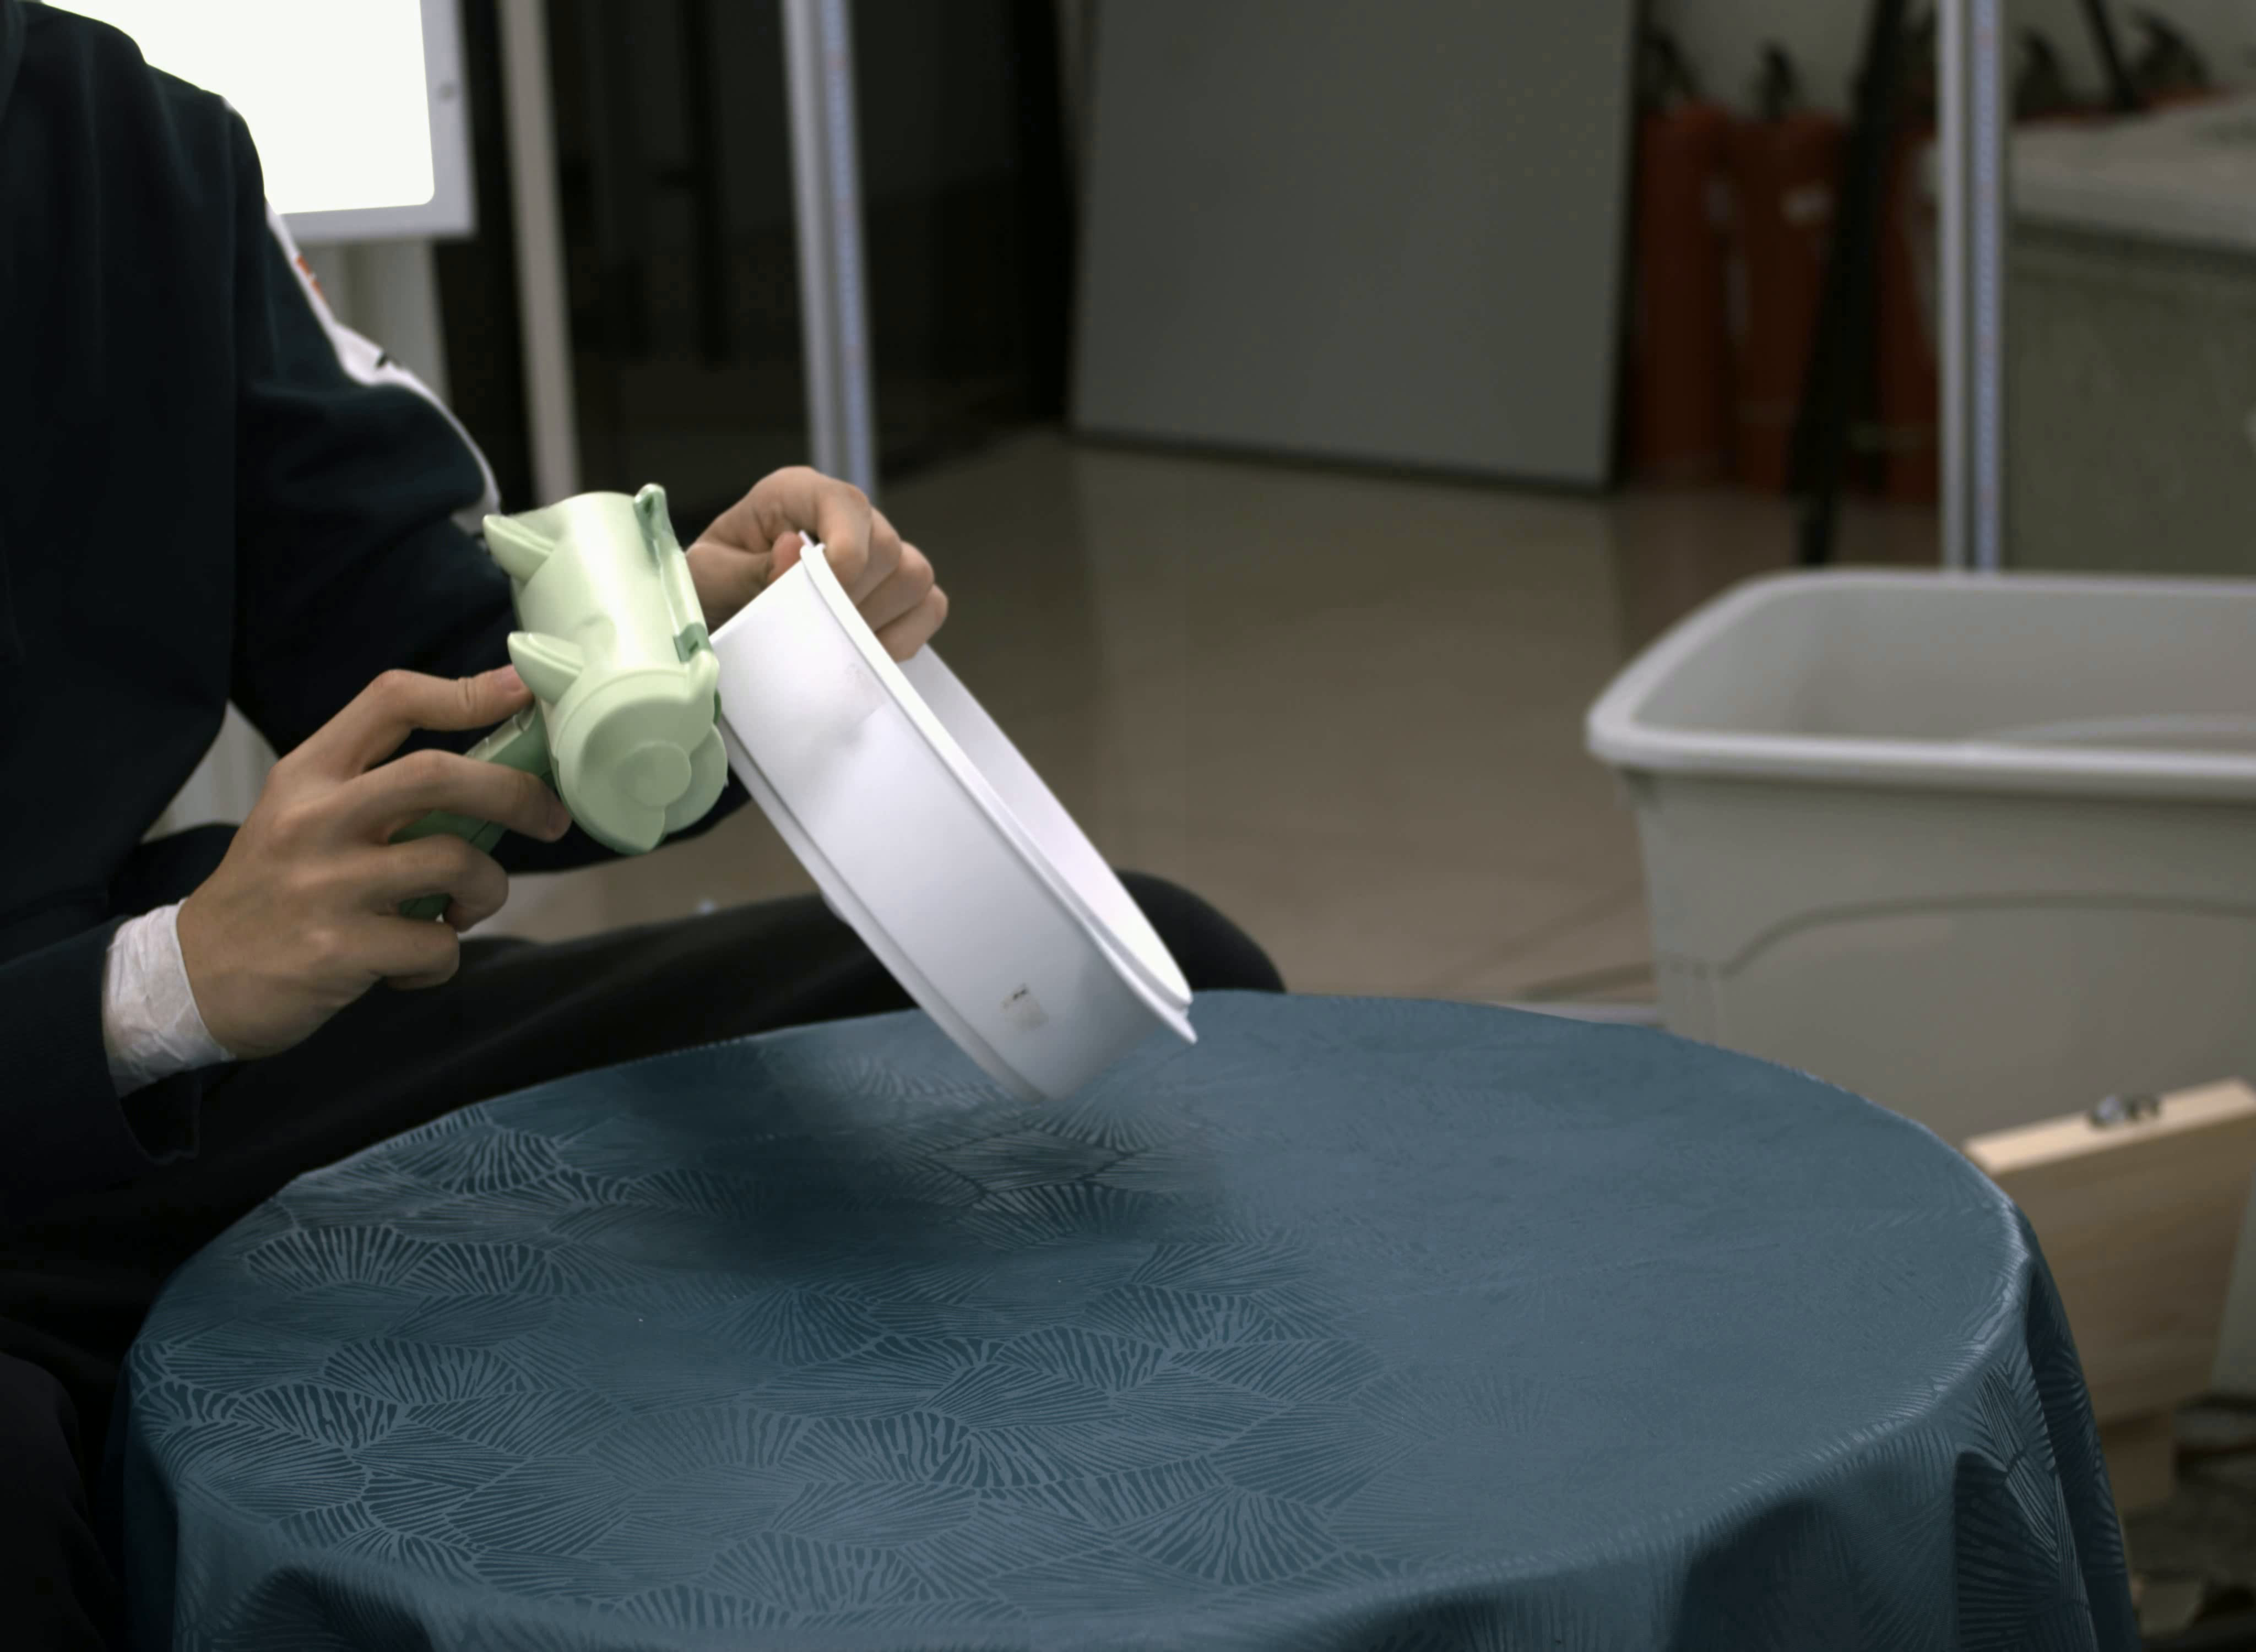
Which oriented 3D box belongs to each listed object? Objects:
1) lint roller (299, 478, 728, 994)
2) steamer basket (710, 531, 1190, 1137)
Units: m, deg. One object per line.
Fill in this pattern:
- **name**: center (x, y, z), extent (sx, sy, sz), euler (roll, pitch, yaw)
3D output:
- **lint roller**: center (-0.210, -0.027, 1.730), extent (0.183, 0.082, 0.200), euler (-37, 22, 5)
- **steamer basket**: center (-0.063, 0.008, 1.777), extent (0.069, 0.233, 0.200), euler (-35, -31, 5)
